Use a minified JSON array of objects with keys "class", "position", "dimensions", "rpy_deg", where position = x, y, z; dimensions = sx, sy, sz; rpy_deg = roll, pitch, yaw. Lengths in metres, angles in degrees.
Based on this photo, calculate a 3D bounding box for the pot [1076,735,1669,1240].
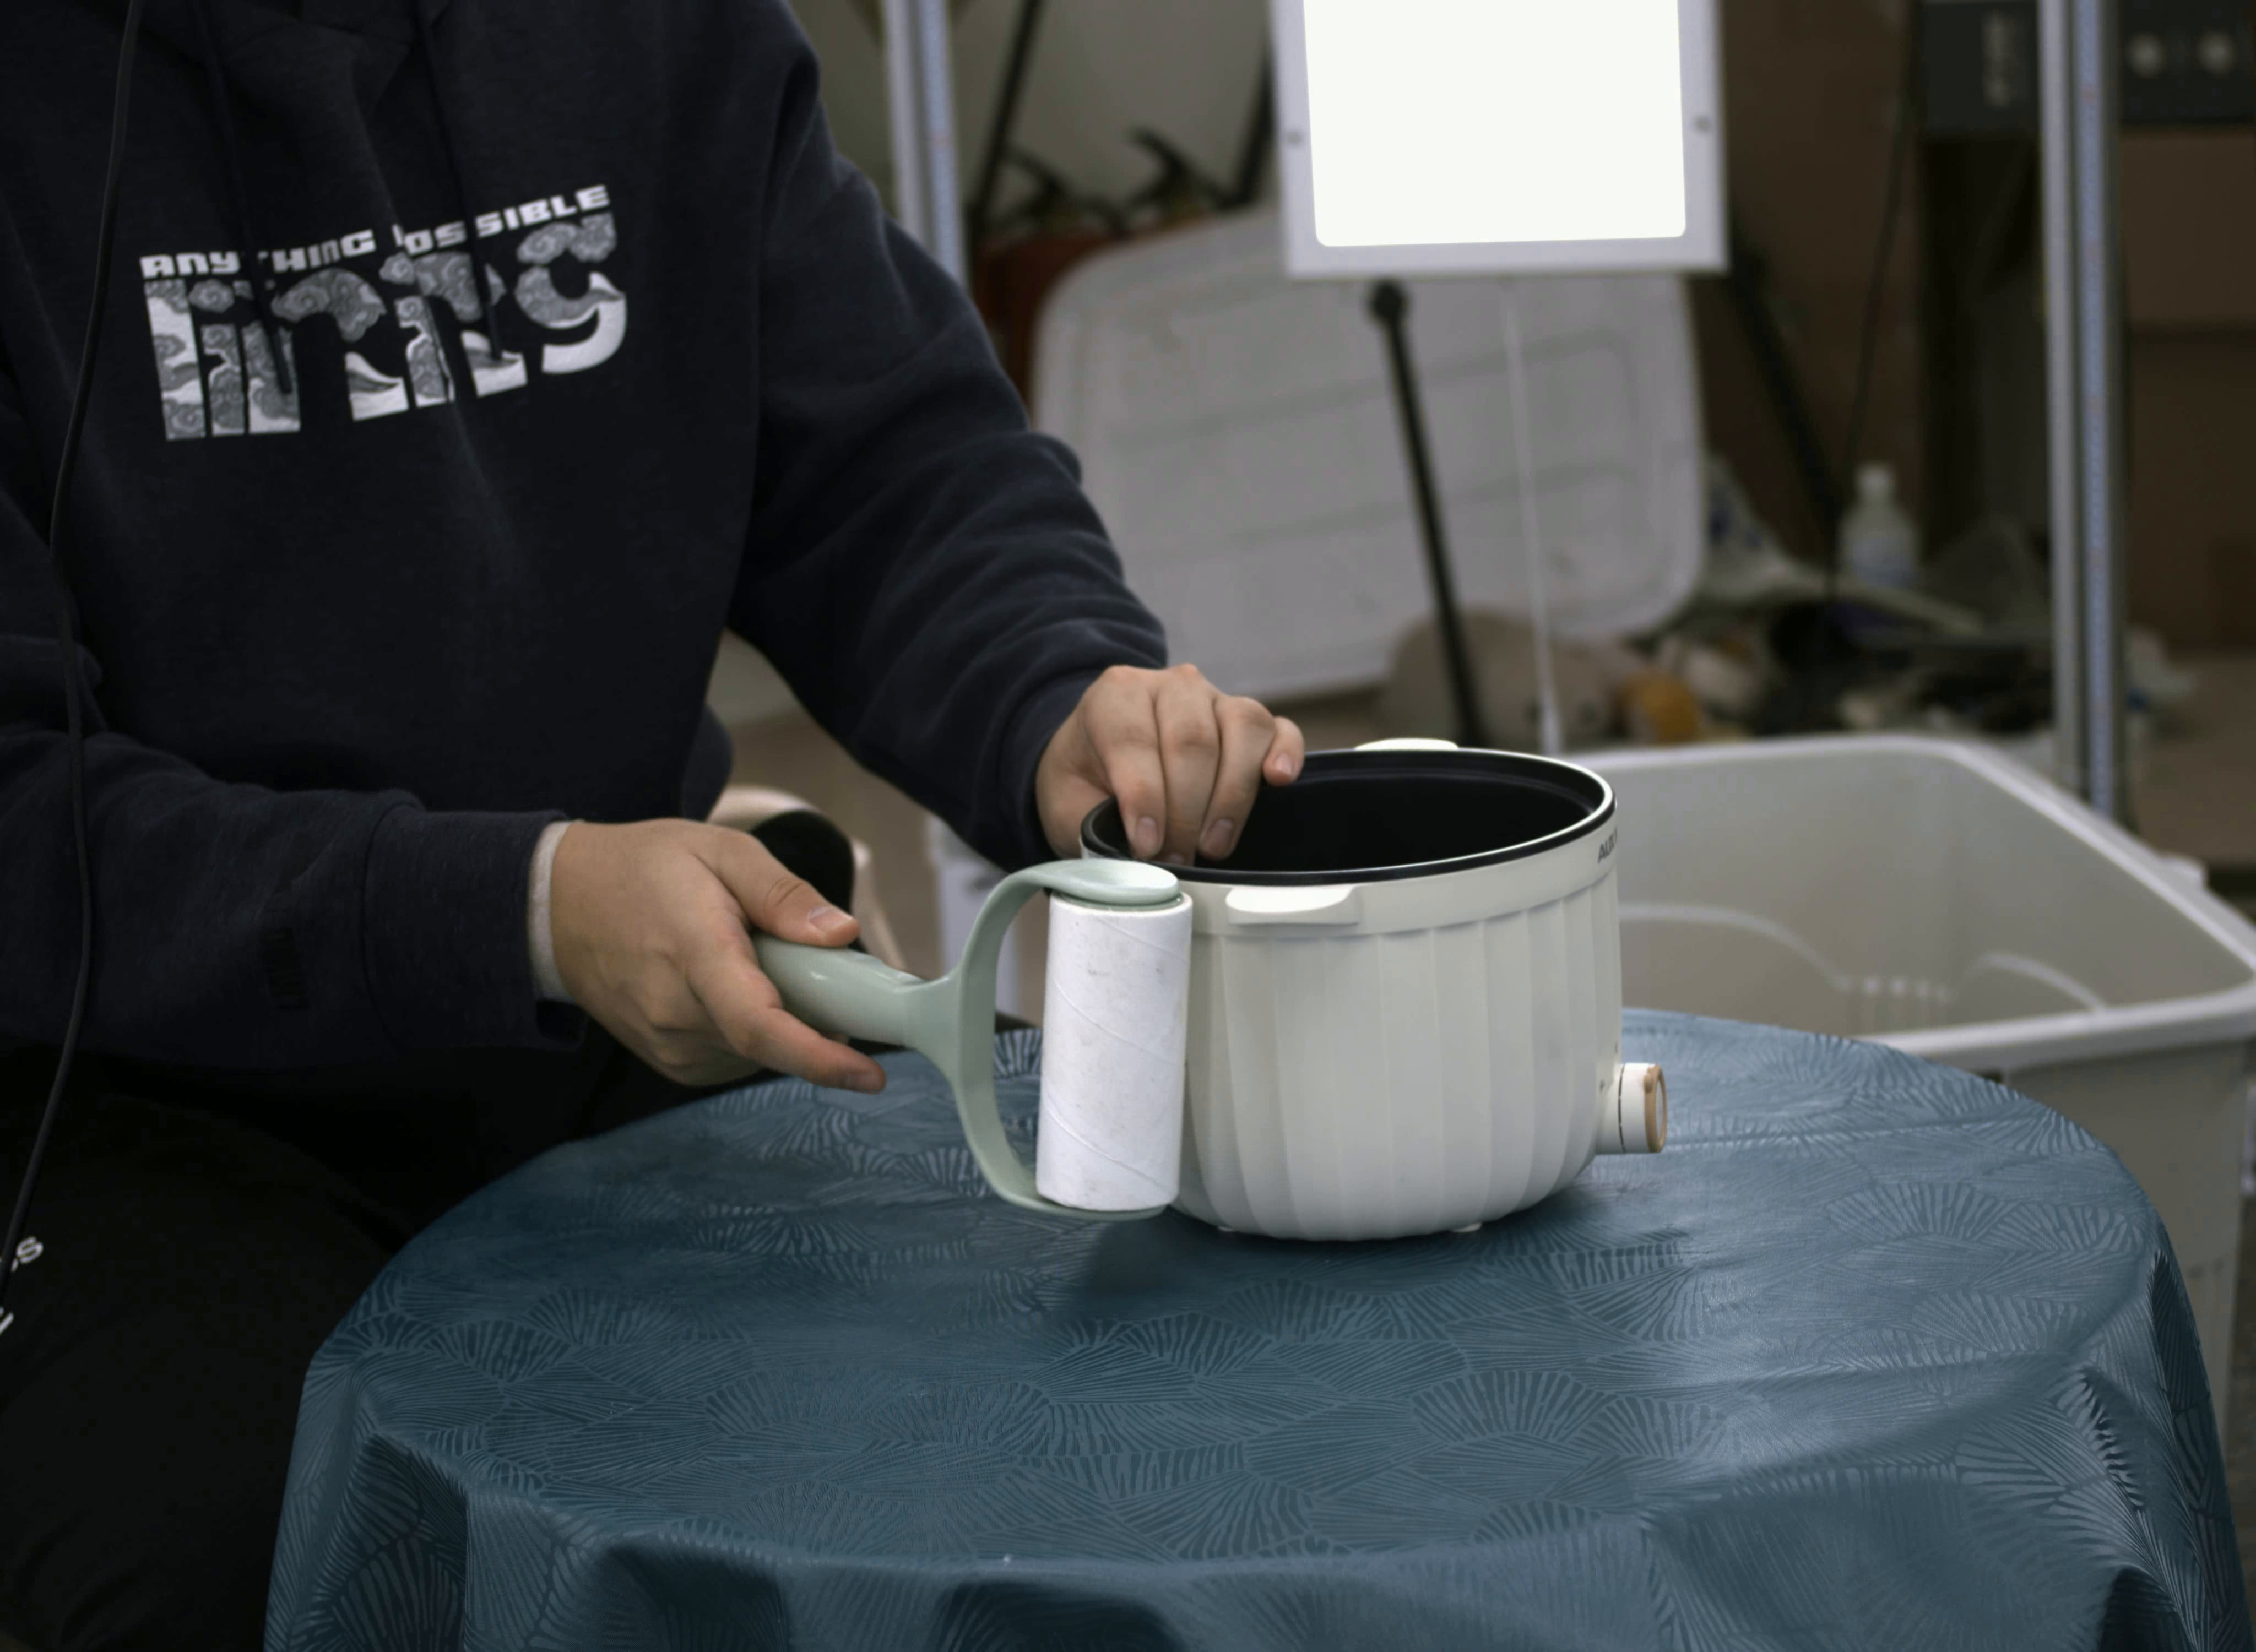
[{"class":"pot","position":[0.084,0.057,1.862],"dimensions":[0.192,0.143,0.237],"rpy_deg":[-4,14,15]}]

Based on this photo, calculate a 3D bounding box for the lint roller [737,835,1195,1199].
[{"class":"lint roller","position":[-0.061,0.051,1.825],"dimensions":[0.201,0.117,0.047],"rpy_deg":[12,21,36]}]
